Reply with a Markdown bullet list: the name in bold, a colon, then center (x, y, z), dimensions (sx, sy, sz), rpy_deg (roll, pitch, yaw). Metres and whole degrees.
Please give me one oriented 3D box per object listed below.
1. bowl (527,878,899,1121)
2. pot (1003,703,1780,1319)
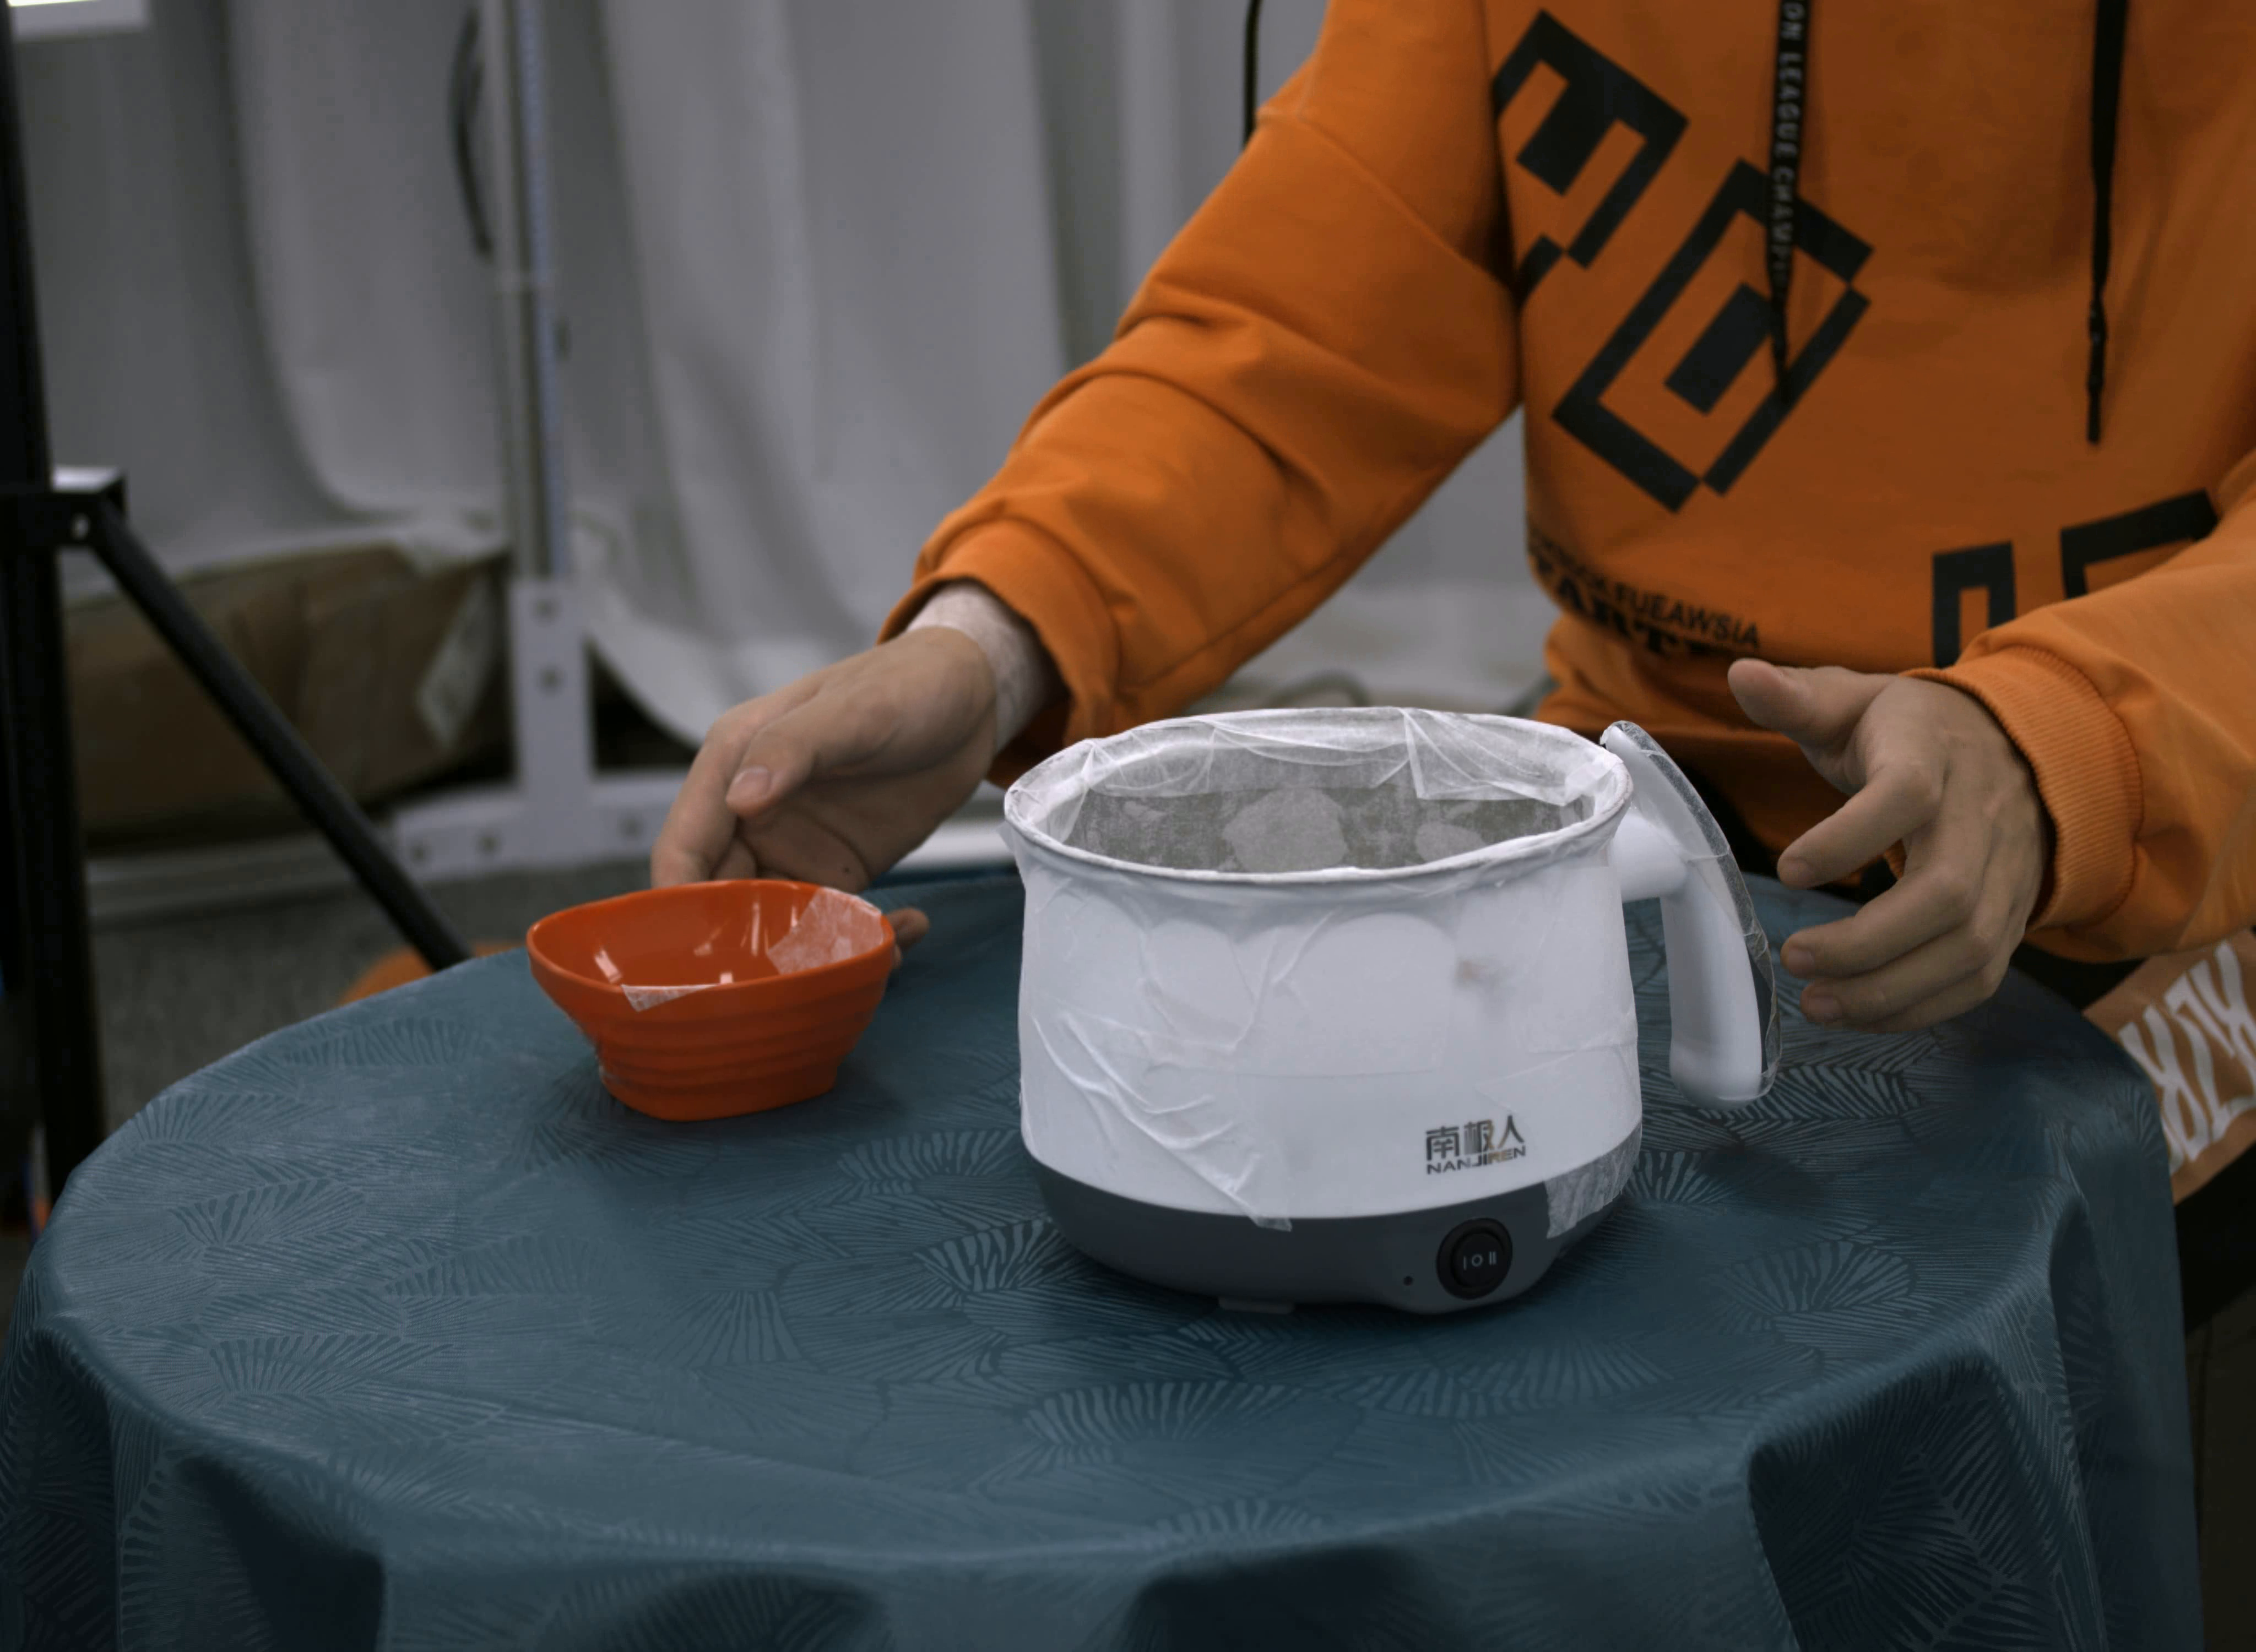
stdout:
- **bowl**: center (-0.129, 0.057, 1.669), dimensions (0.118, 0.051, 0.119), rpy_deg (-4, 15, 0)
- **pot**: center (0.080, 0.046, 1.512), dimensions (0.229, 0.136, 0.182), rpy_deg (-10, 18, -24)
